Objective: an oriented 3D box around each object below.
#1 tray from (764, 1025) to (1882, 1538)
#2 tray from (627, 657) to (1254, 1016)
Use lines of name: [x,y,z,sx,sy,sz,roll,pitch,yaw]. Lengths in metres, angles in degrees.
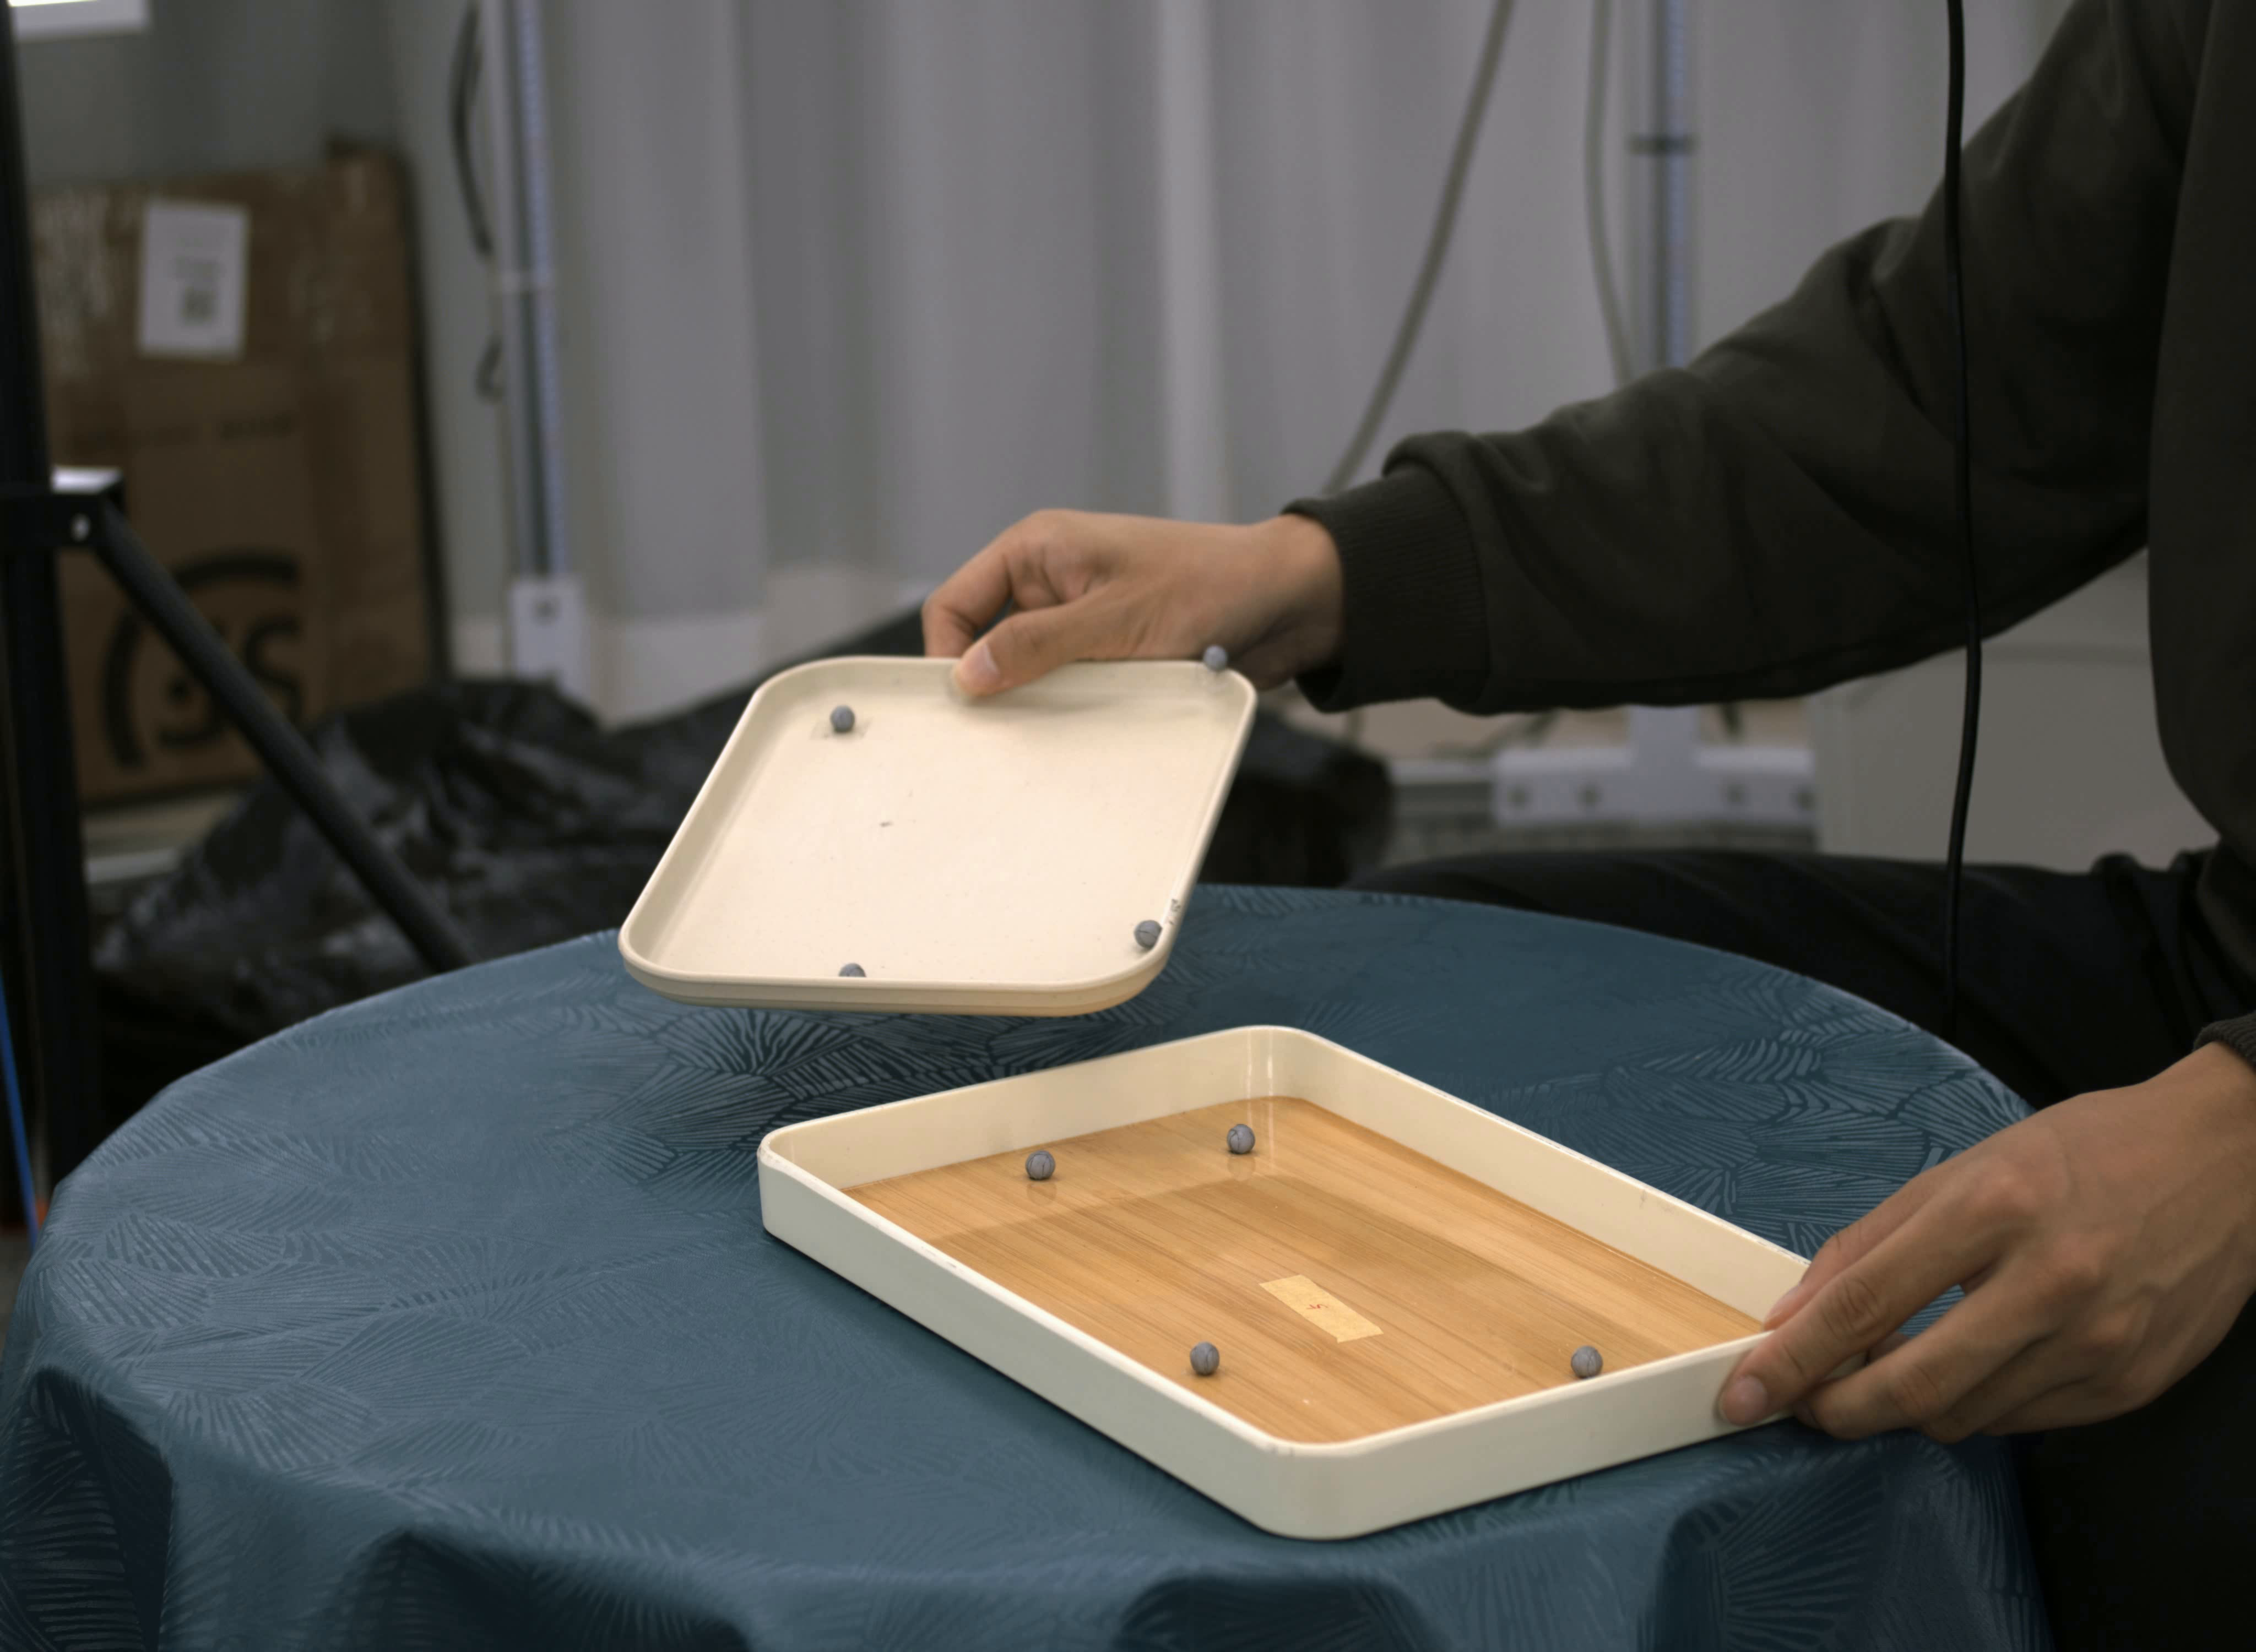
tray: [0.047,0.120,1.464,0.187,0.027,0.307,-11,18,-29]
tray: [-0.055,0.002,1.686,0.172,0.017,0.239,0,26,11]
